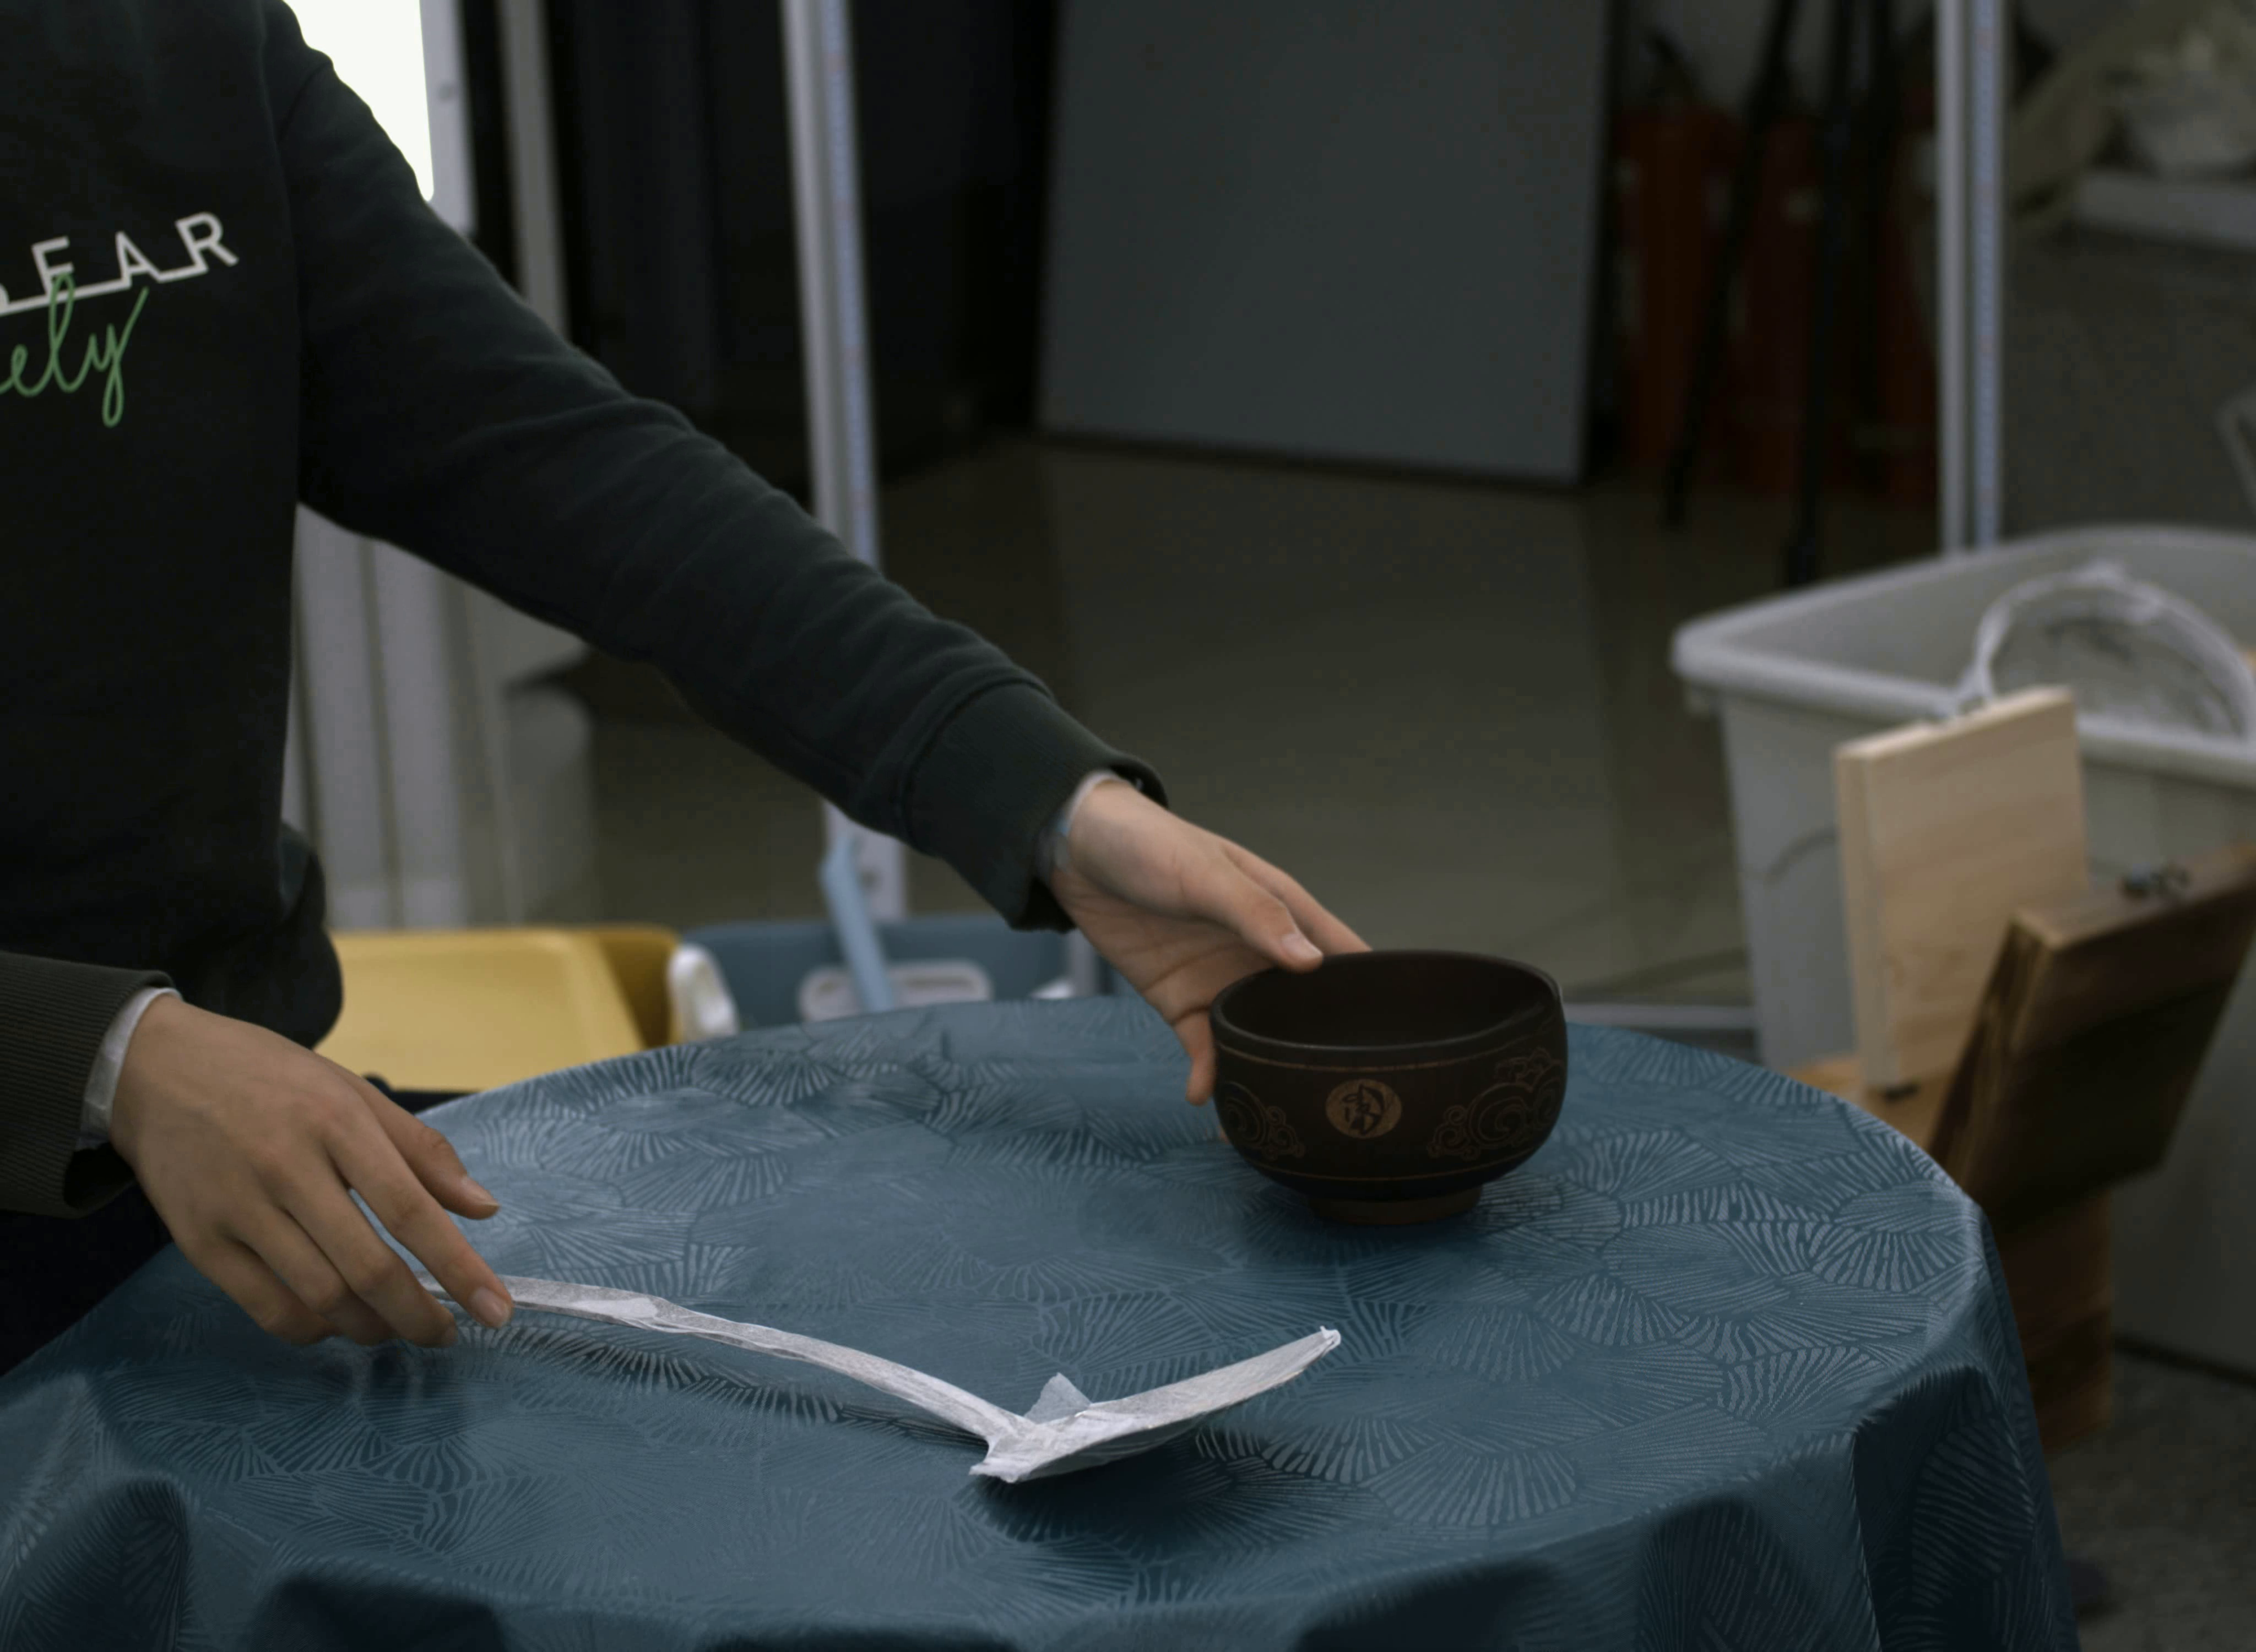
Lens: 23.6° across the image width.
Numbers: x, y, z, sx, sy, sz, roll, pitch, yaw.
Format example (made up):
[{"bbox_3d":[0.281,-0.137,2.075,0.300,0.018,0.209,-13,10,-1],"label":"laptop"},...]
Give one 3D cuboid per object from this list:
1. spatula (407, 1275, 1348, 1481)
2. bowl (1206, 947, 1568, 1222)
[{"bbox_3d":[-0.095,0.151,1.598,0.368,0.045,0.097,8,20,40],"label":"spatula"},{"bbox_3d":[0.084,0.086,1.736,0.116,0.070,0.118,-4,12,0],"label":"bowl"}]
